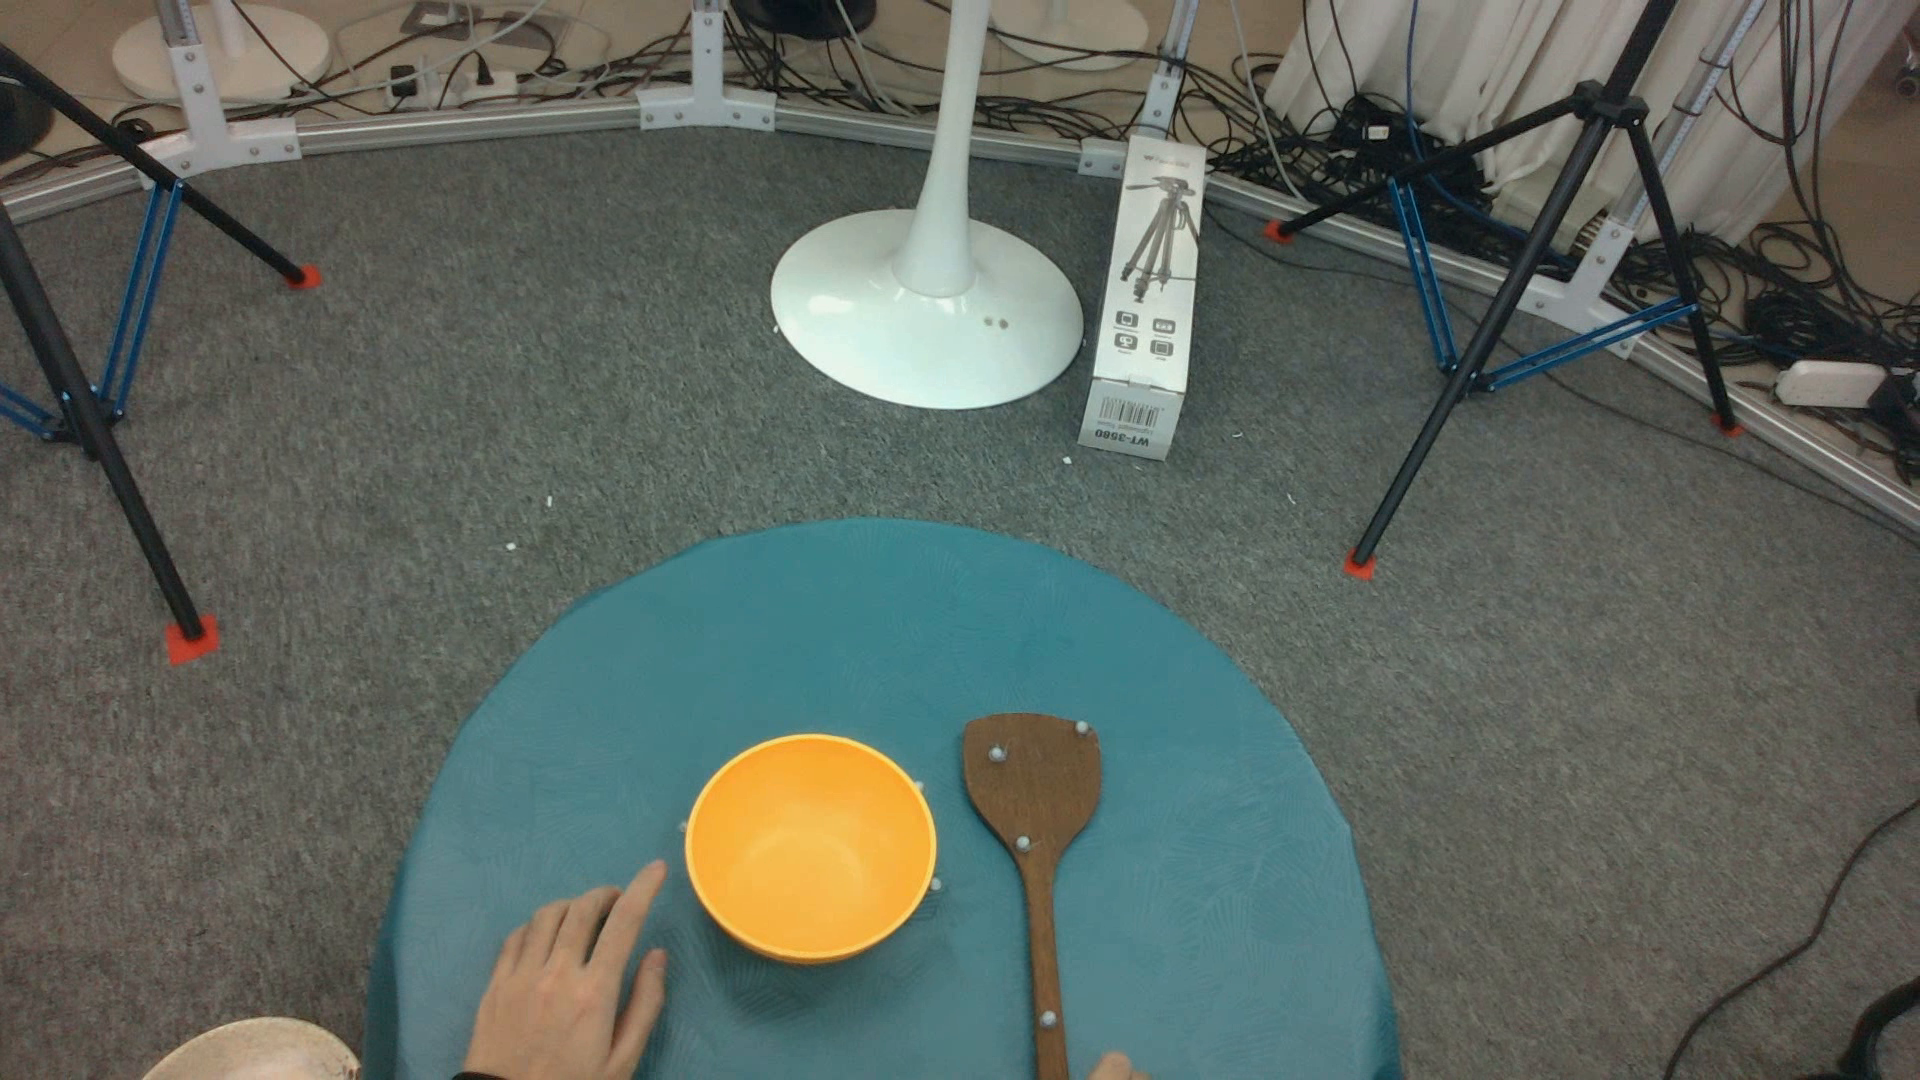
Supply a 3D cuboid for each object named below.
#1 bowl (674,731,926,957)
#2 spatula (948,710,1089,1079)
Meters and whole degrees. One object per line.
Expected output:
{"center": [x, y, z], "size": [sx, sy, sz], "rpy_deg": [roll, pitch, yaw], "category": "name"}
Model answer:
{"center": [-0.095, 0.189, 0.818], "size": [0.145, 0.060, 0.146], "rpy_deg": [4, 47, -4], "category": "bowl"}
{"center": [0.044, 0.260, 0.810], "size": [0.096, 0.015, 0.387], "rpy_deg": [4, 47, -8], "category": "spatula"}
